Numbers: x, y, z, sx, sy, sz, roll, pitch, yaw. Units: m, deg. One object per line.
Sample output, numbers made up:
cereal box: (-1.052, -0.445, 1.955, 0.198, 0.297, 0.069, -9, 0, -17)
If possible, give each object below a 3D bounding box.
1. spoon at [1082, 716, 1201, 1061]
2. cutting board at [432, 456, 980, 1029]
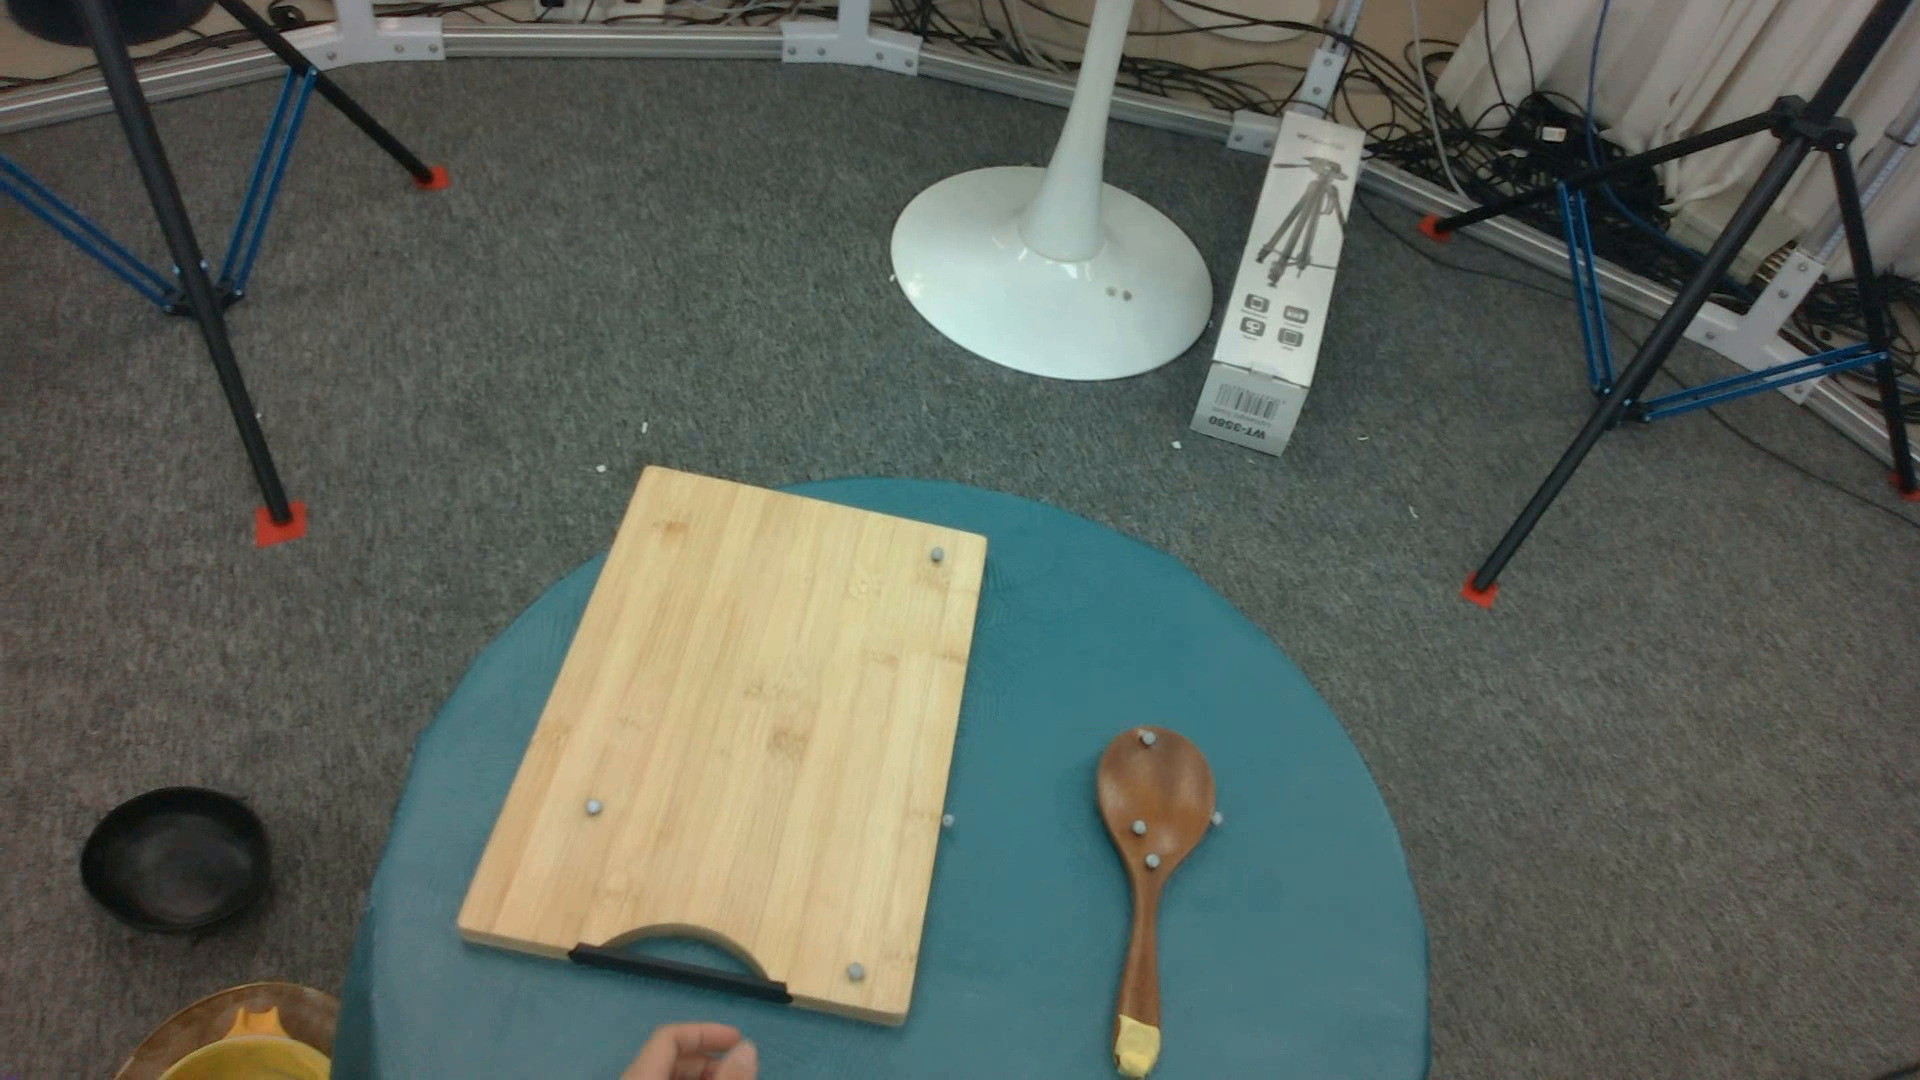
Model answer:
spoon: (0.101, 0.196, 0.803, 0.075, 0.017, 0.217, 14, 49, -2)
cutting board: (-0.131, 0.102, 0.833, 0.251, 0.023, 0.350, 11, 49, -2)
